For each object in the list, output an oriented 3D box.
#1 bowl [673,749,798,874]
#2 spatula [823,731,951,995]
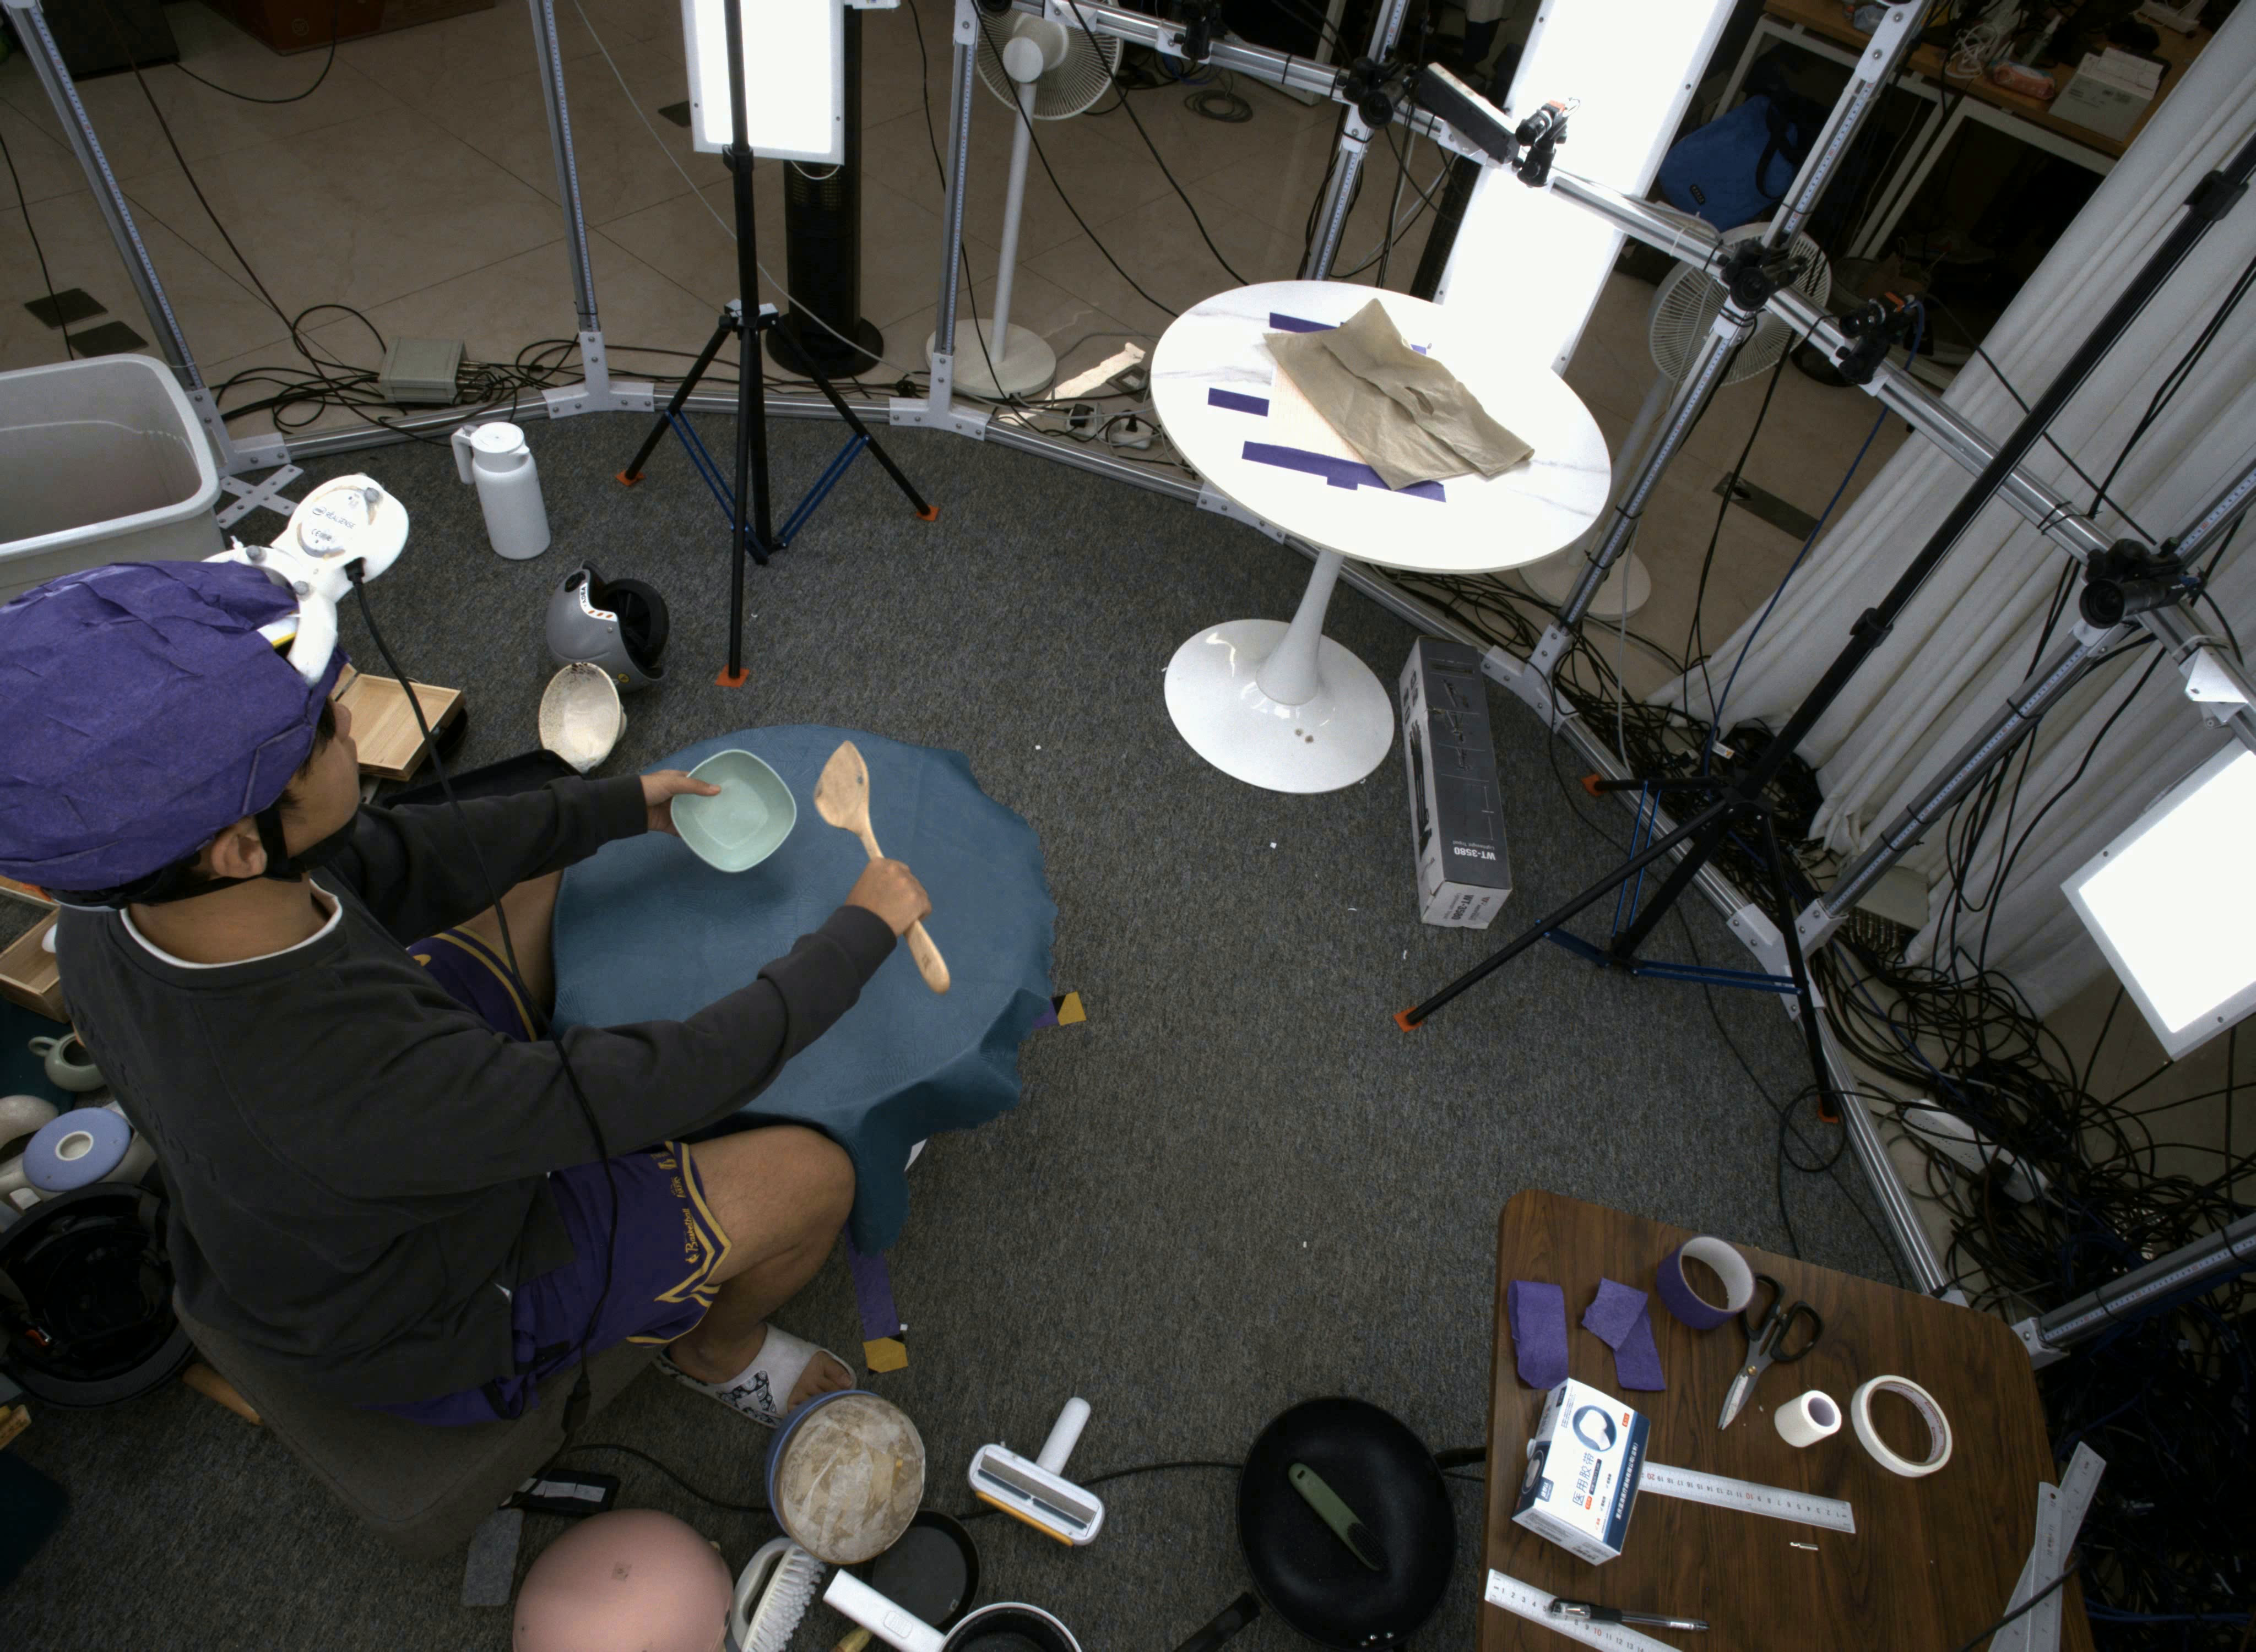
[{"bbox_3d":[-0.491,-0.019,1.613,0.153,0.057,0.153,0,91,-23],"label":"bowl"},{"bbox_3d":[-0.269,0.039,1.459,0.019,0.096,0.378,9,36,-40],"label":"spatula"}]
